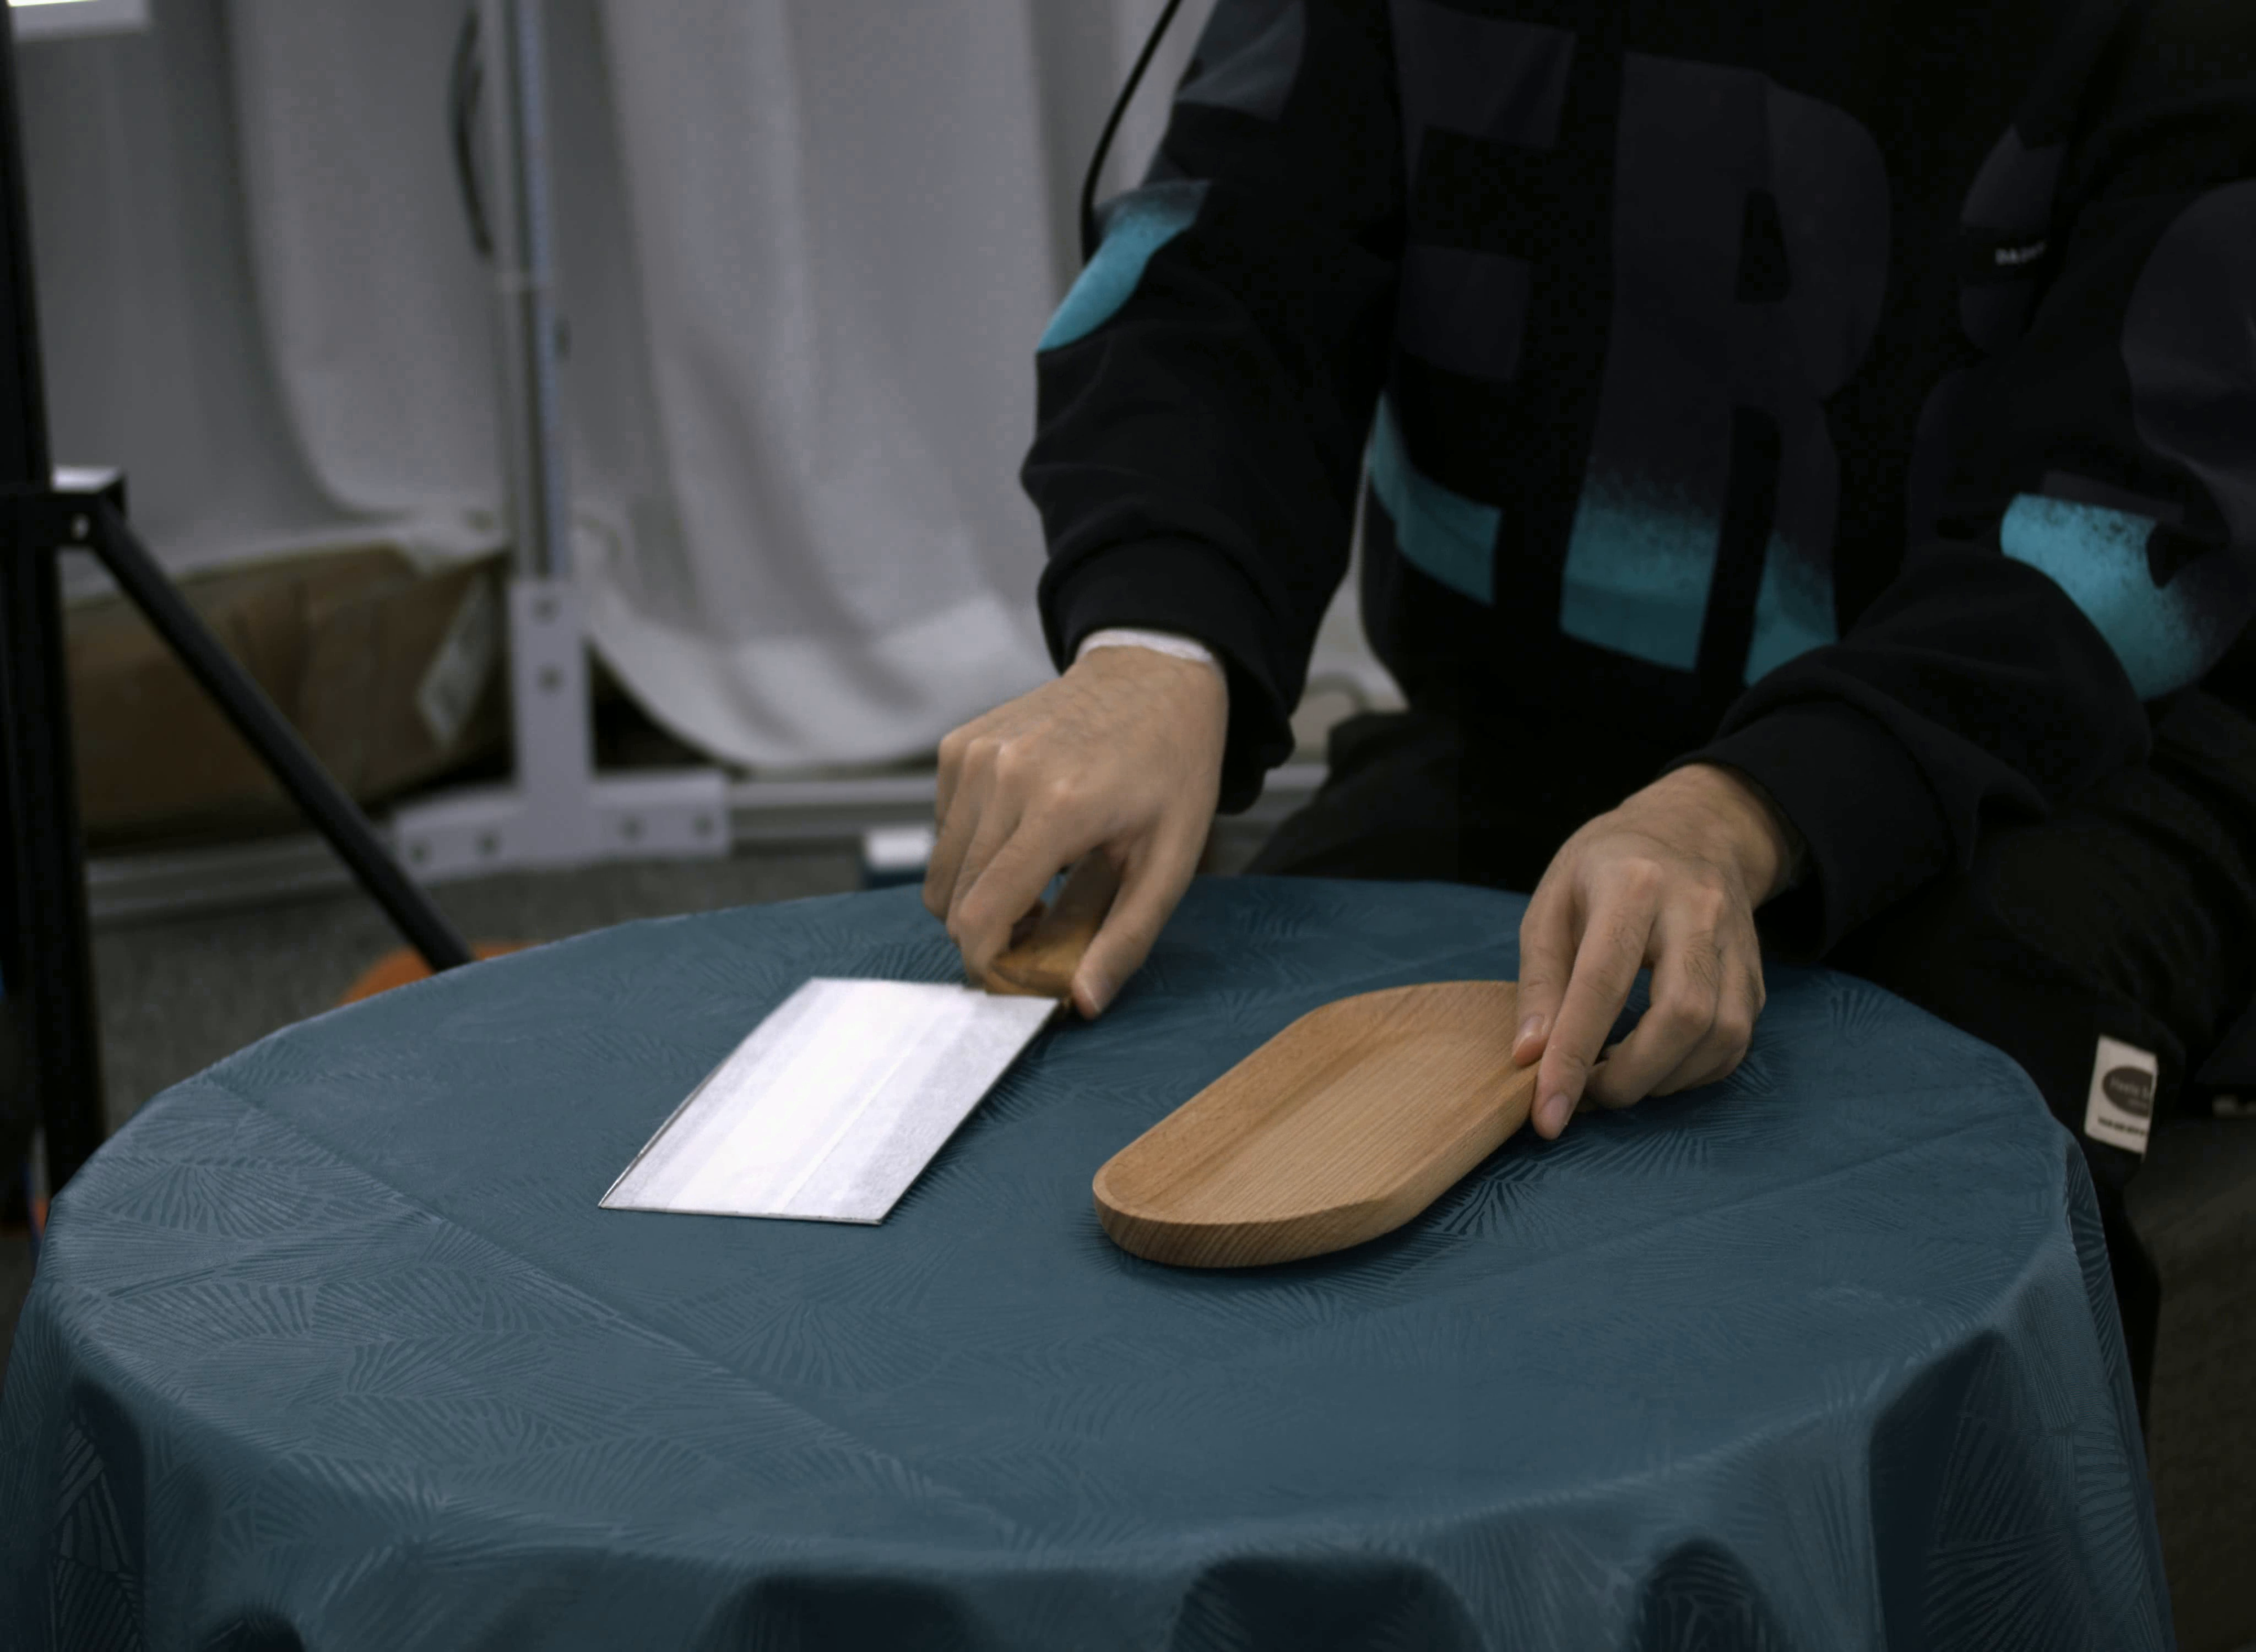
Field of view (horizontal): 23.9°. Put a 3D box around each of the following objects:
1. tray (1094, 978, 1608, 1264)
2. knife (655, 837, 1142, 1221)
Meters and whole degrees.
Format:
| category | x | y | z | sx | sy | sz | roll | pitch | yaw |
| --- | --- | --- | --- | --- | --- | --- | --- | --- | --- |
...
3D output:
| category | x | y | z | sx | sy | sz | roll | pitch | yaw |
| --- | --- | --- | --- | --- | --- | --- | --- | --- | --- |
| tray | 0.070 | 0.086 | 1.583 | 0.103 | 0.020 | 0.227 | 1 | 15 | 28 |
| knife | -0.071 | 0.062 | 1.689 | 0.094 | 0.021 | 0.303 | 1 | 20 | 17 |
